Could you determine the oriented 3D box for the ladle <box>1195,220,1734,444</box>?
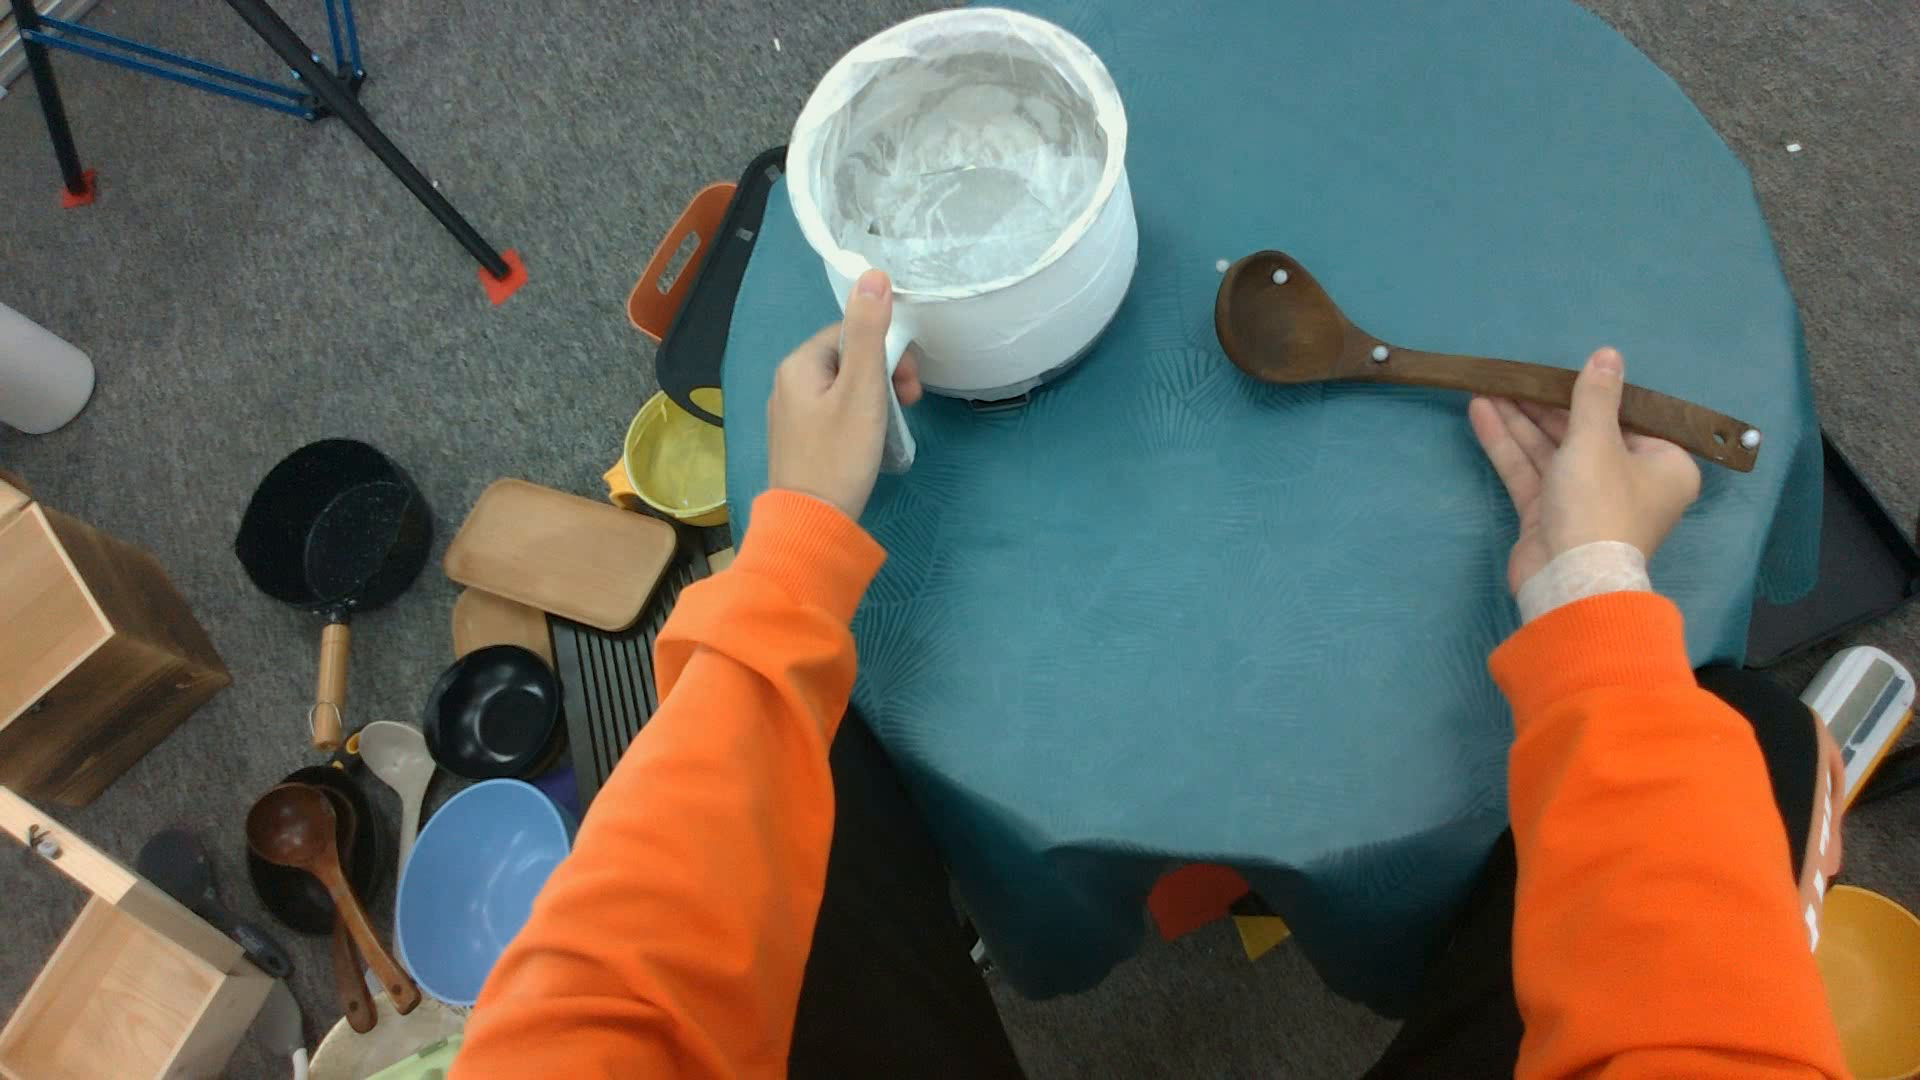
[{"bbox_3d":[0.256,-0.106,0.712,0.274,0.071,0.076,17,75,23],"label":"ladle"}]

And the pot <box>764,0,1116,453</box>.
[{"bbox_3d":[-0.016,-0.166,0.755,0.178,0.136,0.234,20,74,17],"label":"pot"}]
